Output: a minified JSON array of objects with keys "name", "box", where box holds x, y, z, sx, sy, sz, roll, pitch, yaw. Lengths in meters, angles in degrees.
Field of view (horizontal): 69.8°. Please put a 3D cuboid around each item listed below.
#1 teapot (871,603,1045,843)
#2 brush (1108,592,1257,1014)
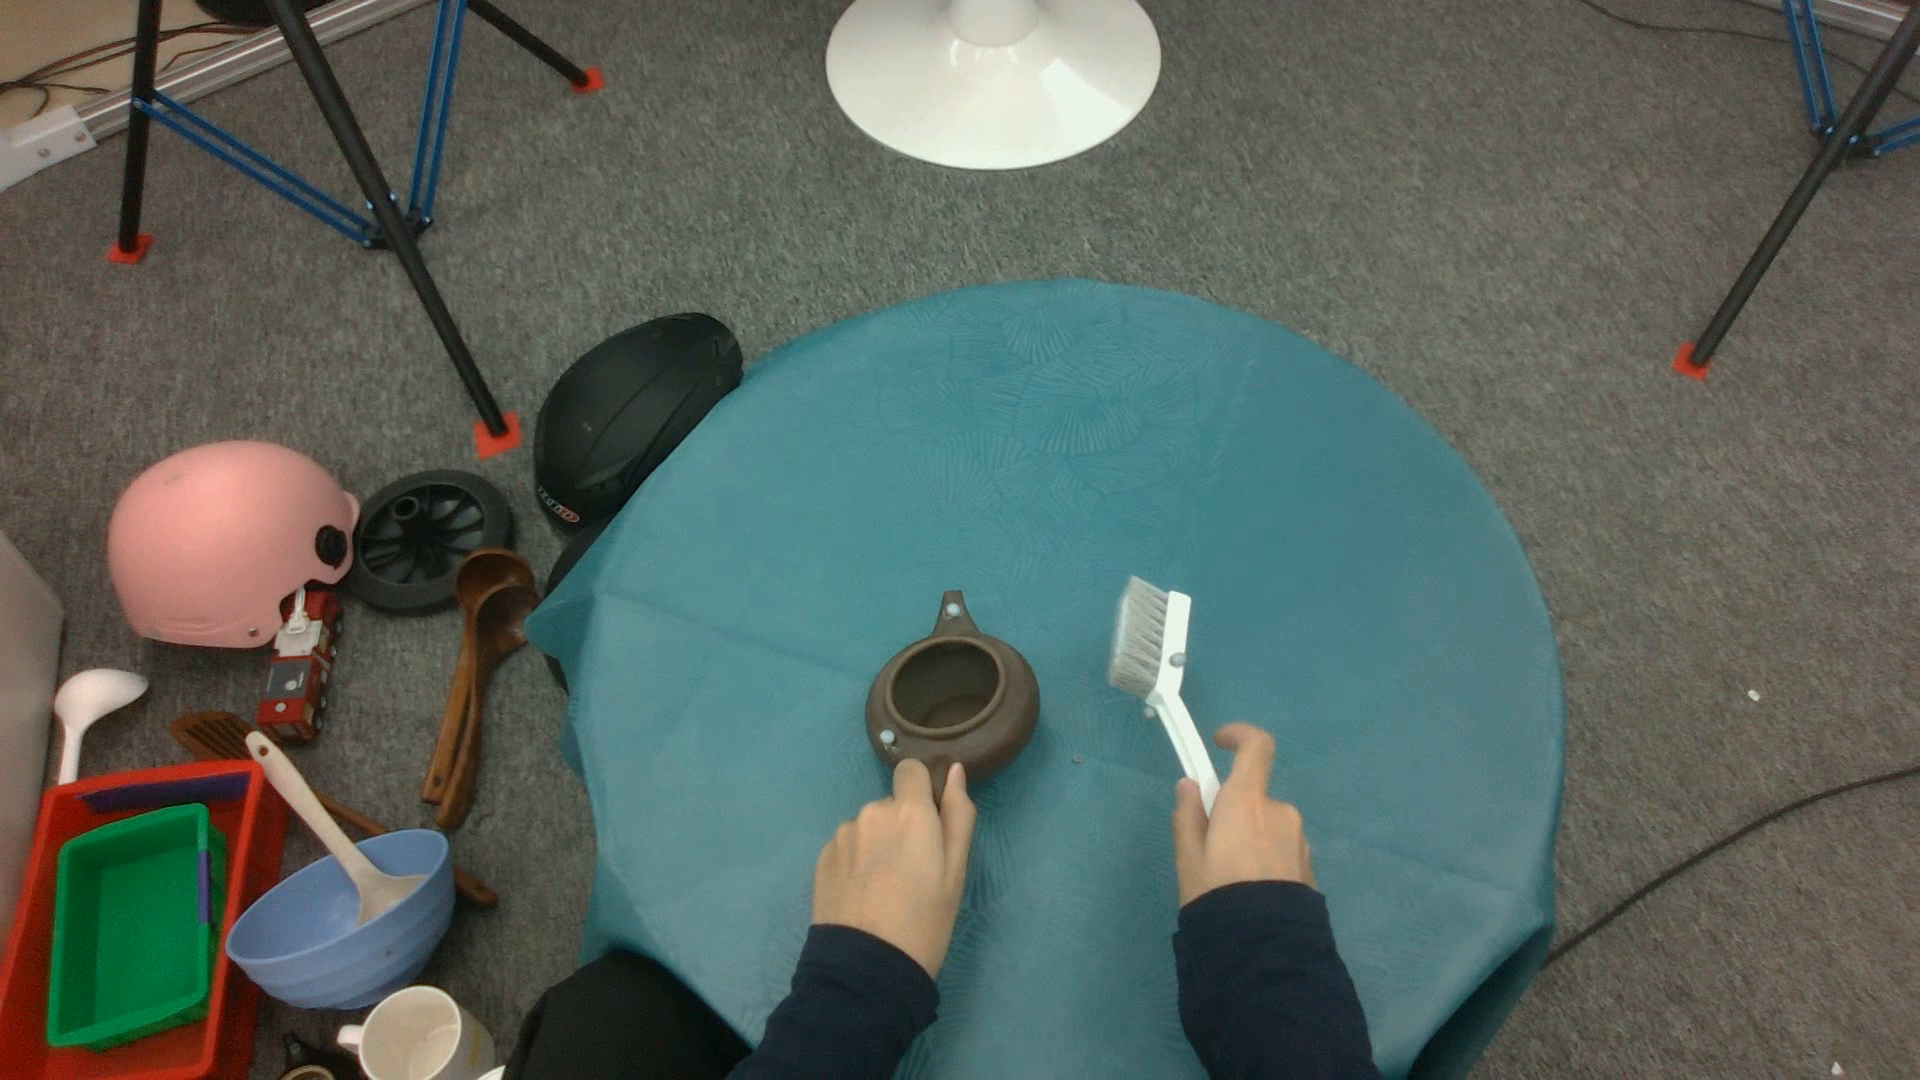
[{"name":"teapot","box":[-0.001,0.107,0.798,0.102,0.053,0.154,-10,42,7]},{"name":"brush","box":[0.116,0.135,0.751,0.050,0.034,0.244,5,53,-14]}]
